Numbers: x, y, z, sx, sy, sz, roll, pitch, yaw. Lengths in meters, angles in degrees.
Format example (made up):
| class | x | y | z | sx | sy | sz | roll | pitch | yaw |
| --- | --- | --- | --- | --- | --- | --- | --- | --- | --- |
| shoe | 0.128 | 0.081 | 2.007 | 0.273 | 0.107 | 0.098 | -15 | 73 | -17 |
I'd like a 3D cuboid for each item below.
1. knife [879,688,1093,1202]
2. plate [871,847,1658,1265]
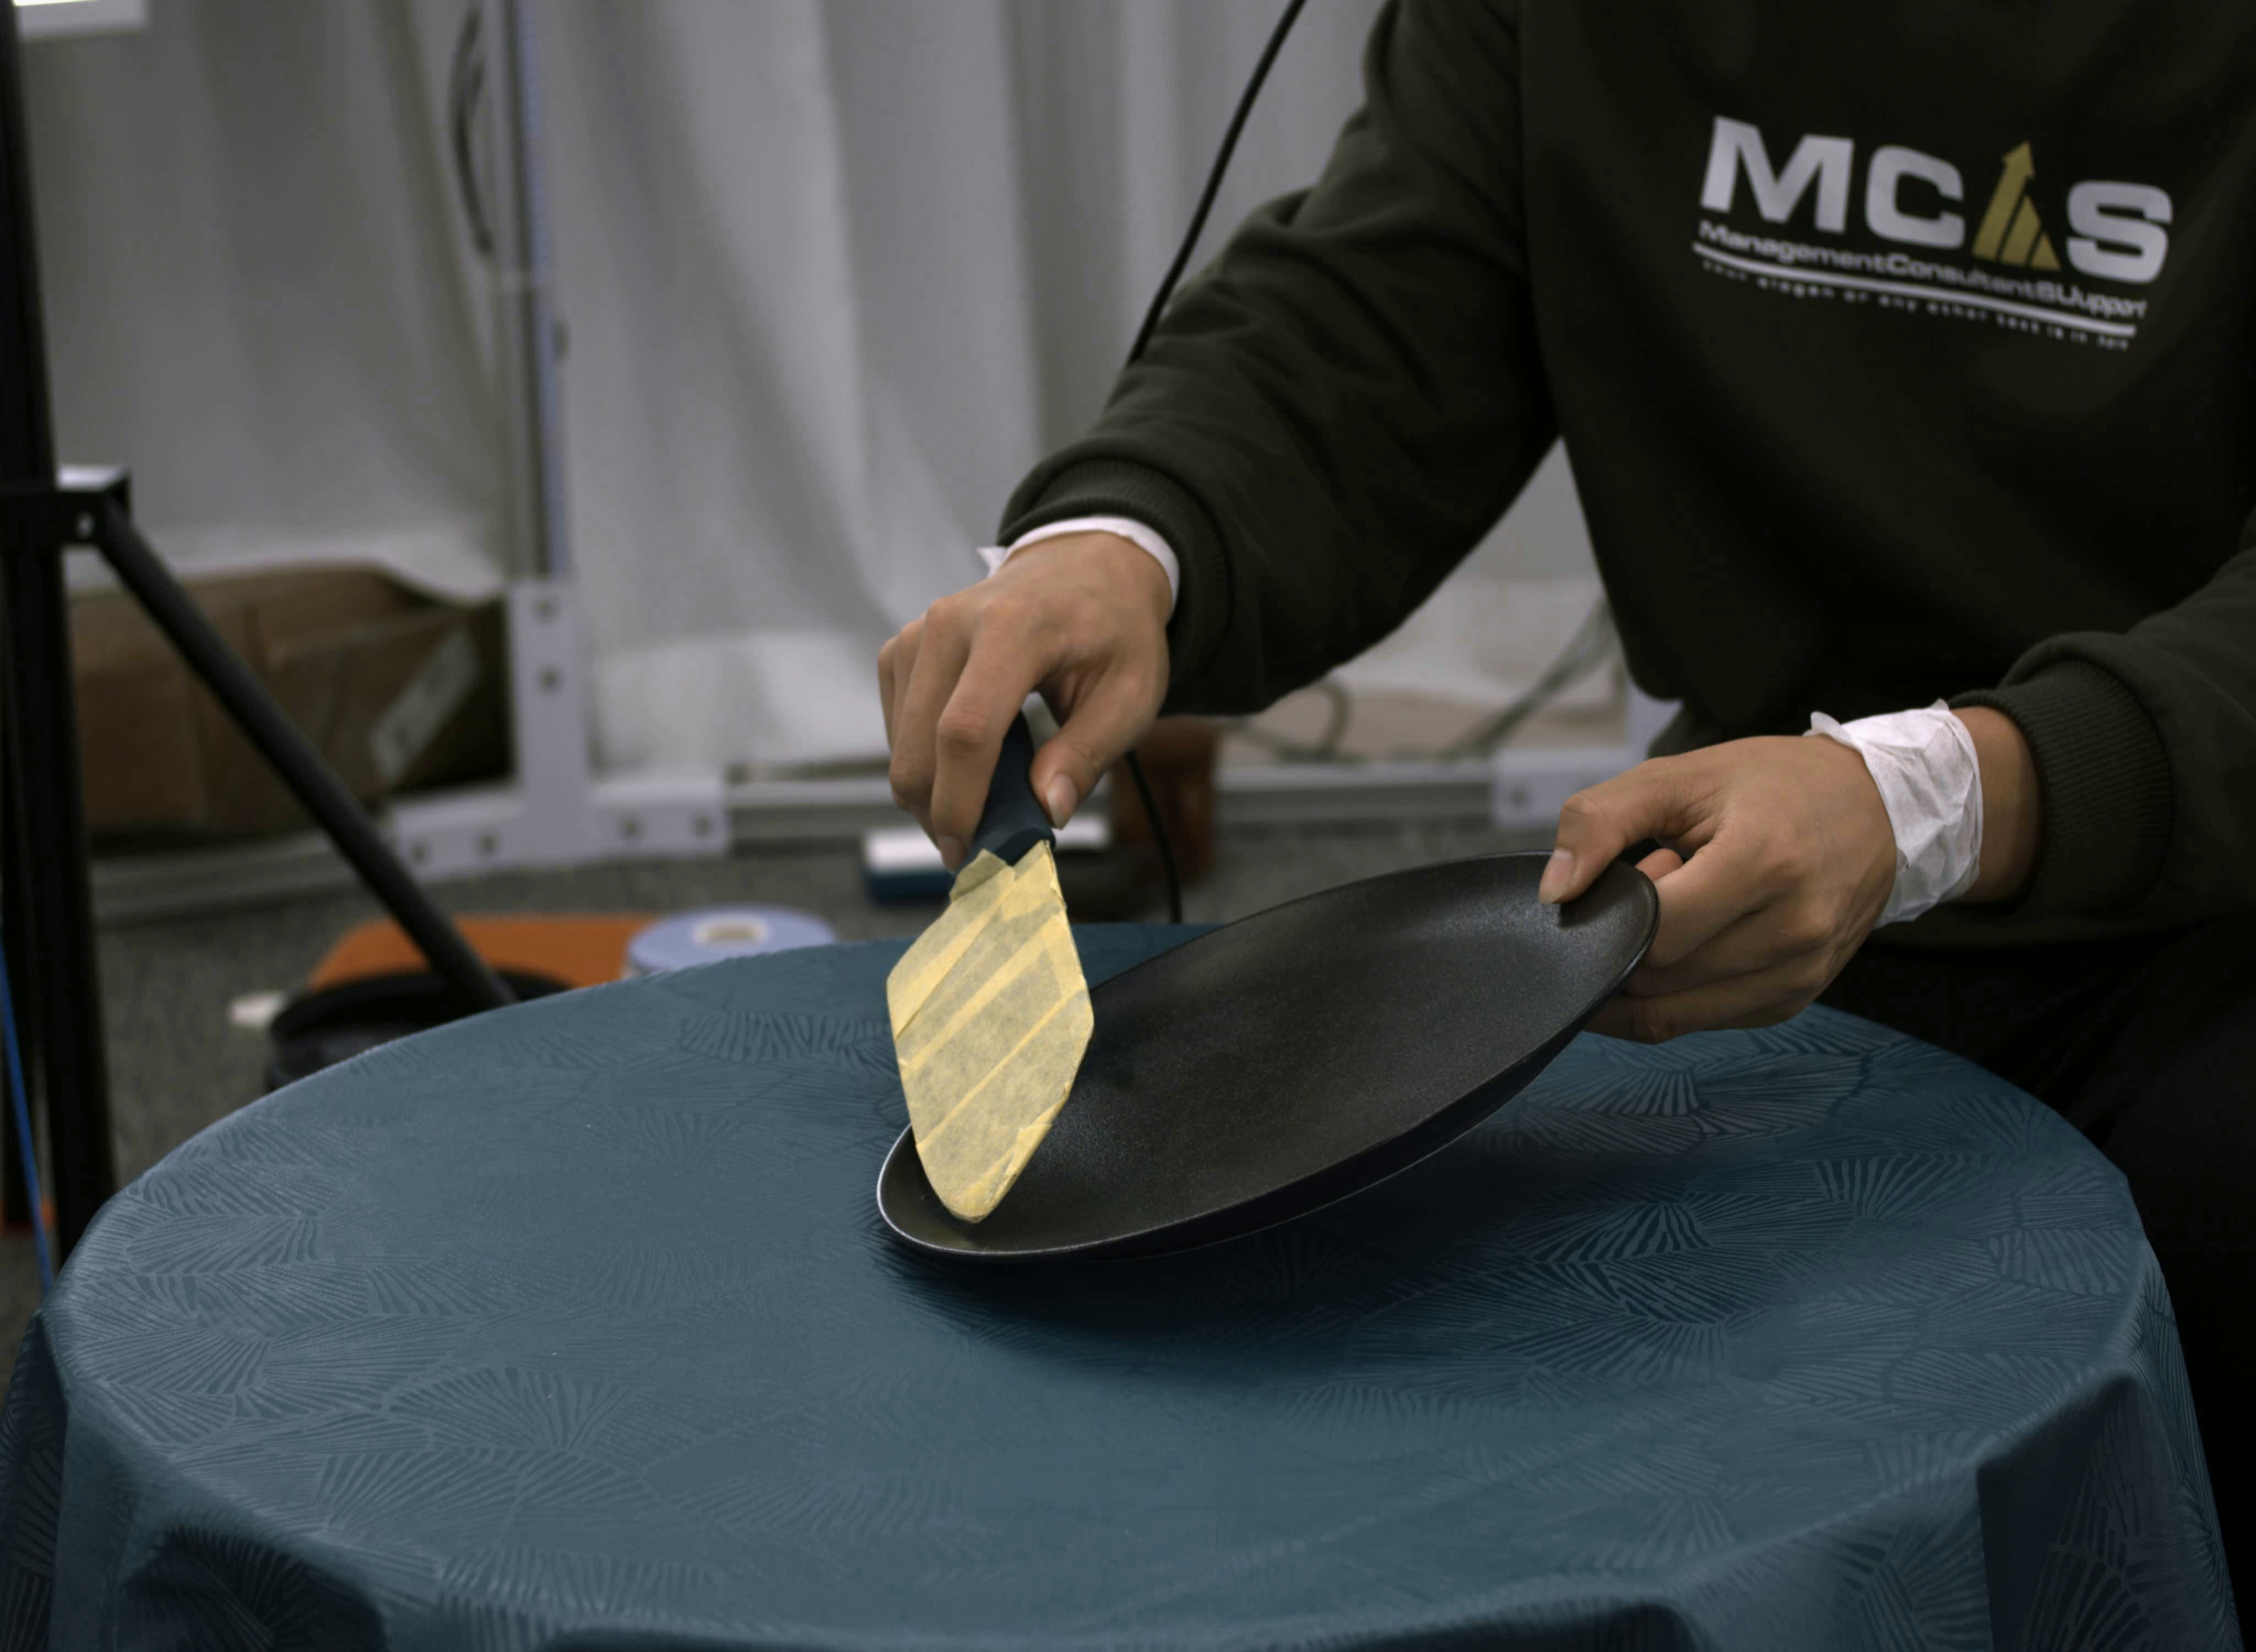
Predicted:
| class | x | y | z | sx | sy | sz | roll | pitch | yaw |
| --- | --- | --- | --- | --- | --- | --- | --- | --- | --- |
| knife | -0.046 | 0.033 | 1.622 | 0.081 | 0.027 | 0.292 | -42 | 23 | 16 |
| plate | 0.042 | 0.072 | 1.534 | 0.244 | 0.023 | 0.246 | -22 | 16 | 5 |
